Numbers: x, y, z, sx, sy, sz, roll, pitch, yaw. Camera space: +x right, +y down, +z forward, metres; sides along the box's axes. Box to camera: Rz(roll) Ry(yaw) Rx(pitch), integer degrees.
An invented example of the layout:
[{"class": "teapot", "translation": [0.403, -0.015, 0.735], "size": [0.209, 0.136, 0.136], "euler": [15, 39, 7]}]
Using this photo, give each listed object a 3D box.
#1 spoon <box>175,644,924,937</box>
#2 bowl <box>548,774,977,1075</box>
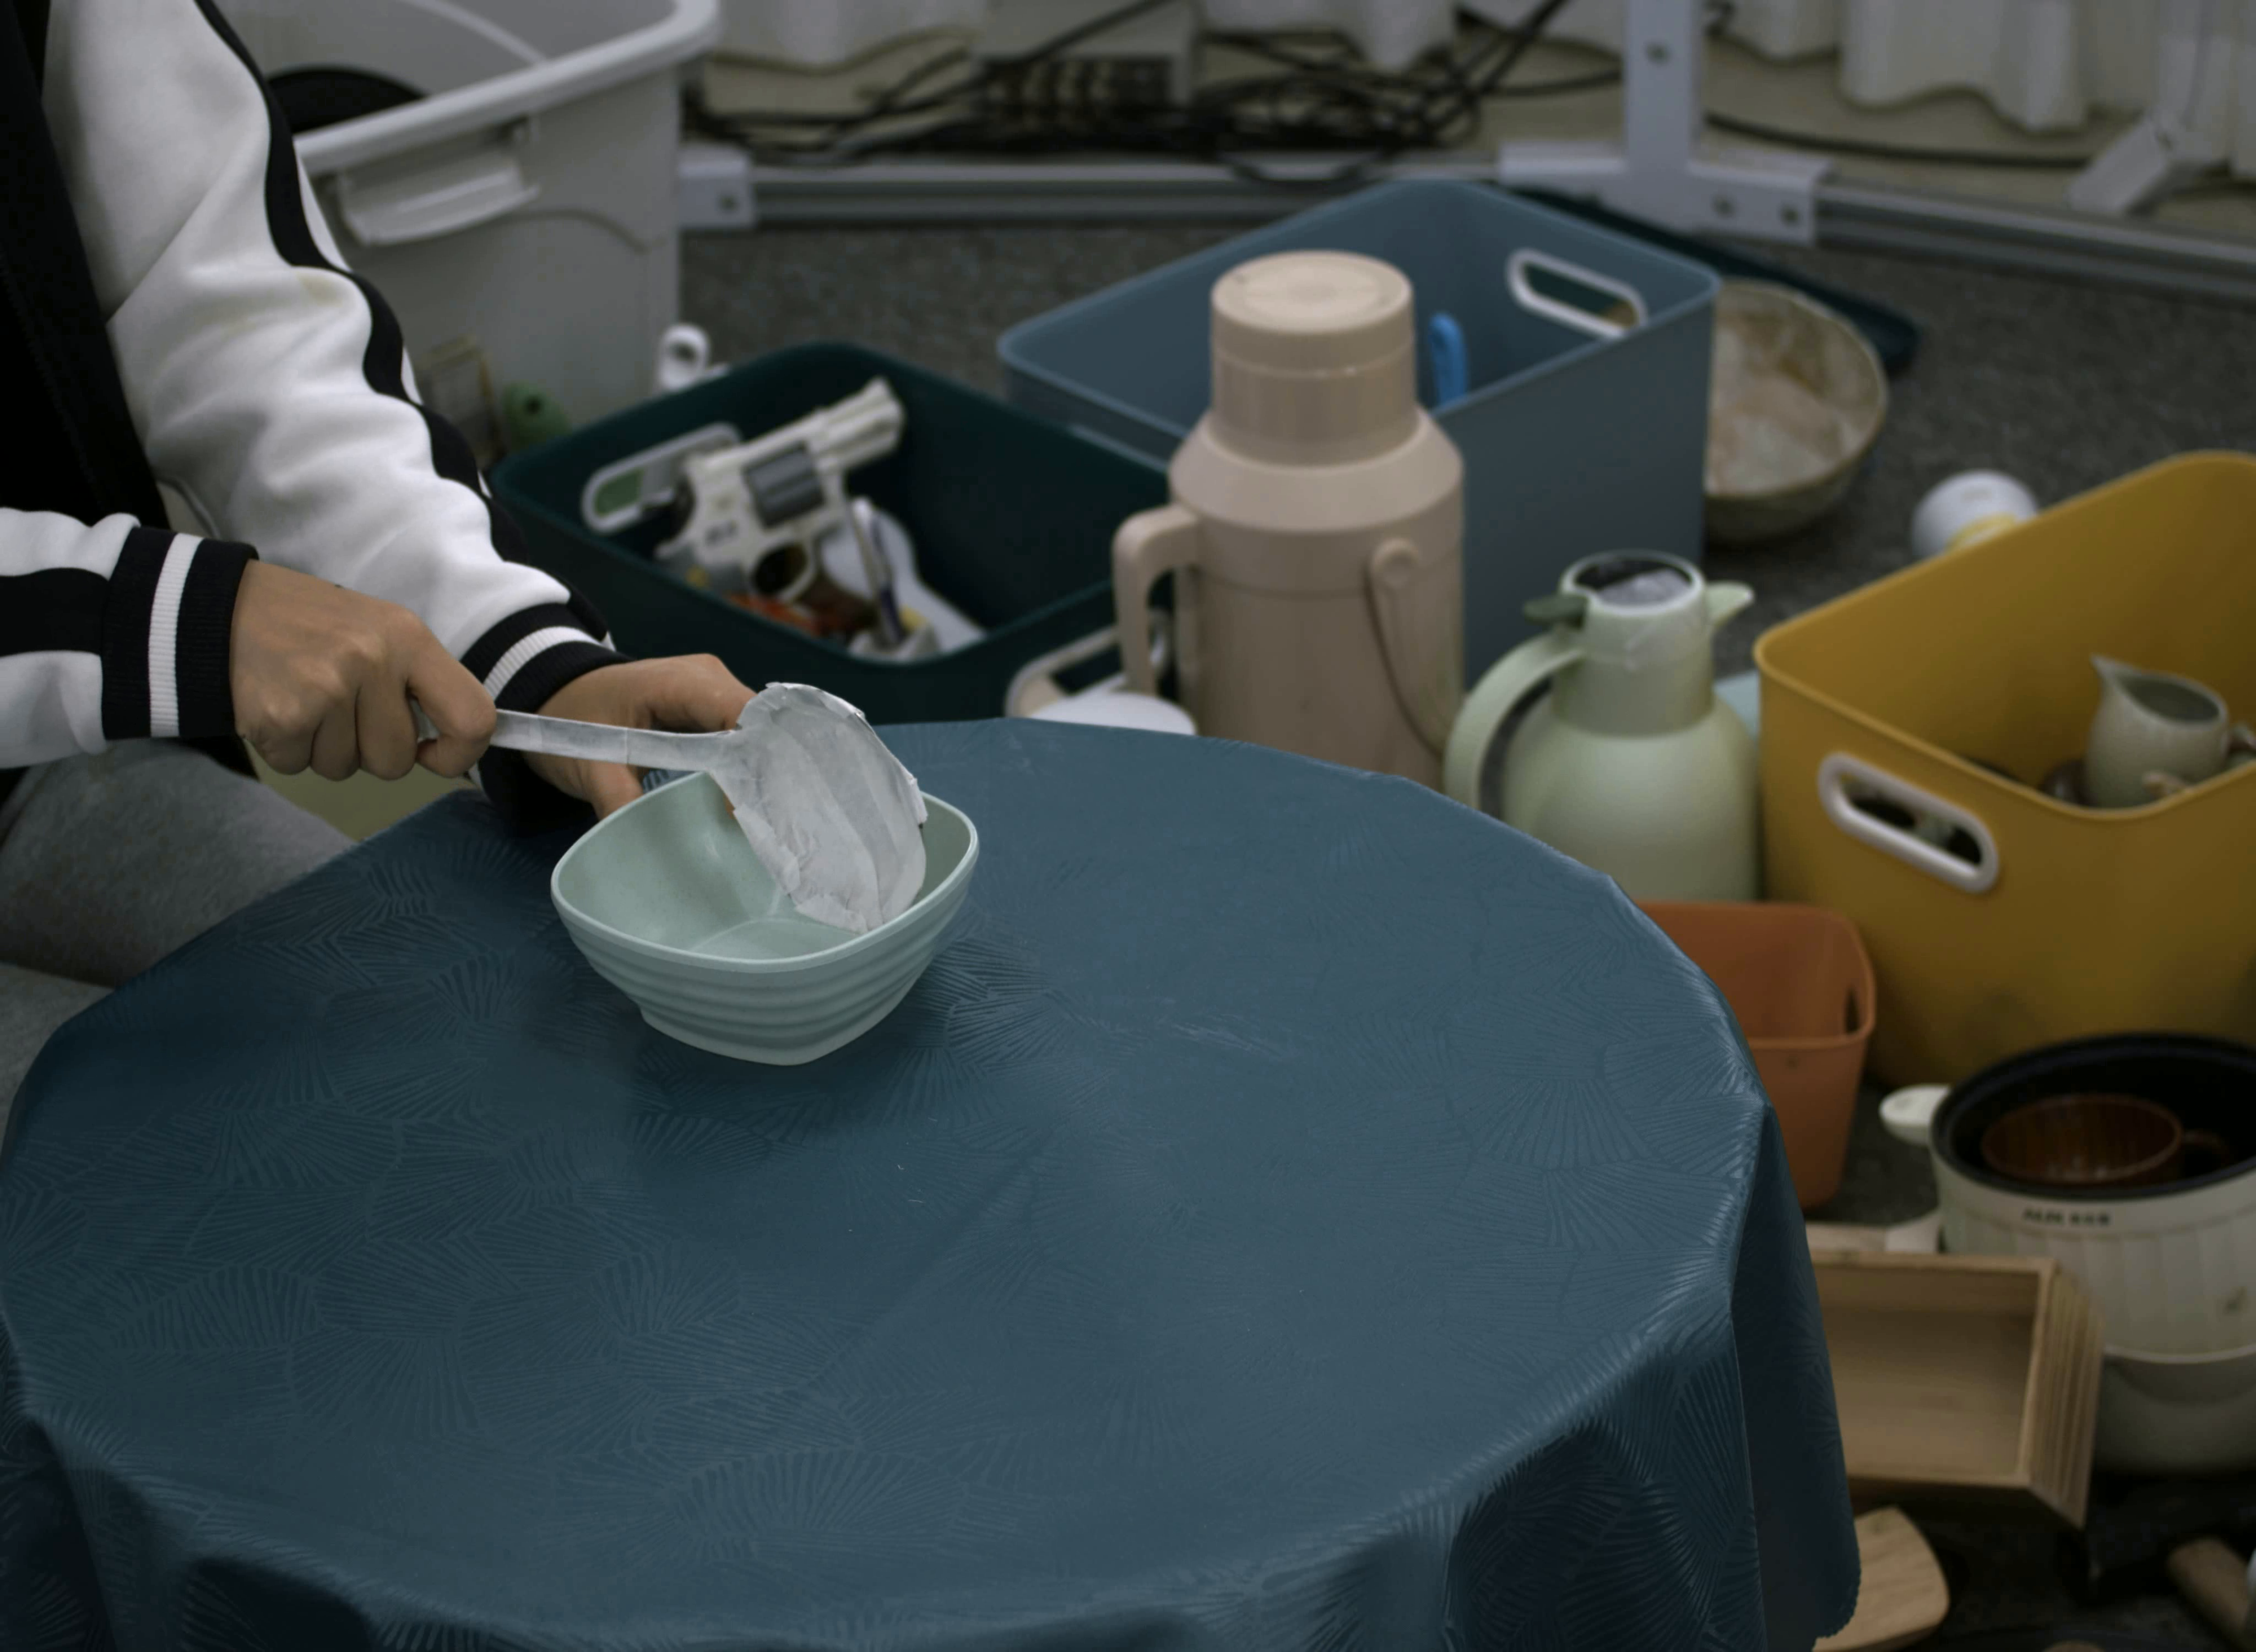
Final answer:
[{"class": "spoon", "translation": [-0.203, -0.026, 1.961], "size": [0.276, 0.099, 0.060], "euler": [10, 26, 2]}, {"class": "bowl", "translation": [-0.127, 0.039, 1.978], "size": [0.151, 0.058, 0.154], "euler": [-2, 27, 1]}]
